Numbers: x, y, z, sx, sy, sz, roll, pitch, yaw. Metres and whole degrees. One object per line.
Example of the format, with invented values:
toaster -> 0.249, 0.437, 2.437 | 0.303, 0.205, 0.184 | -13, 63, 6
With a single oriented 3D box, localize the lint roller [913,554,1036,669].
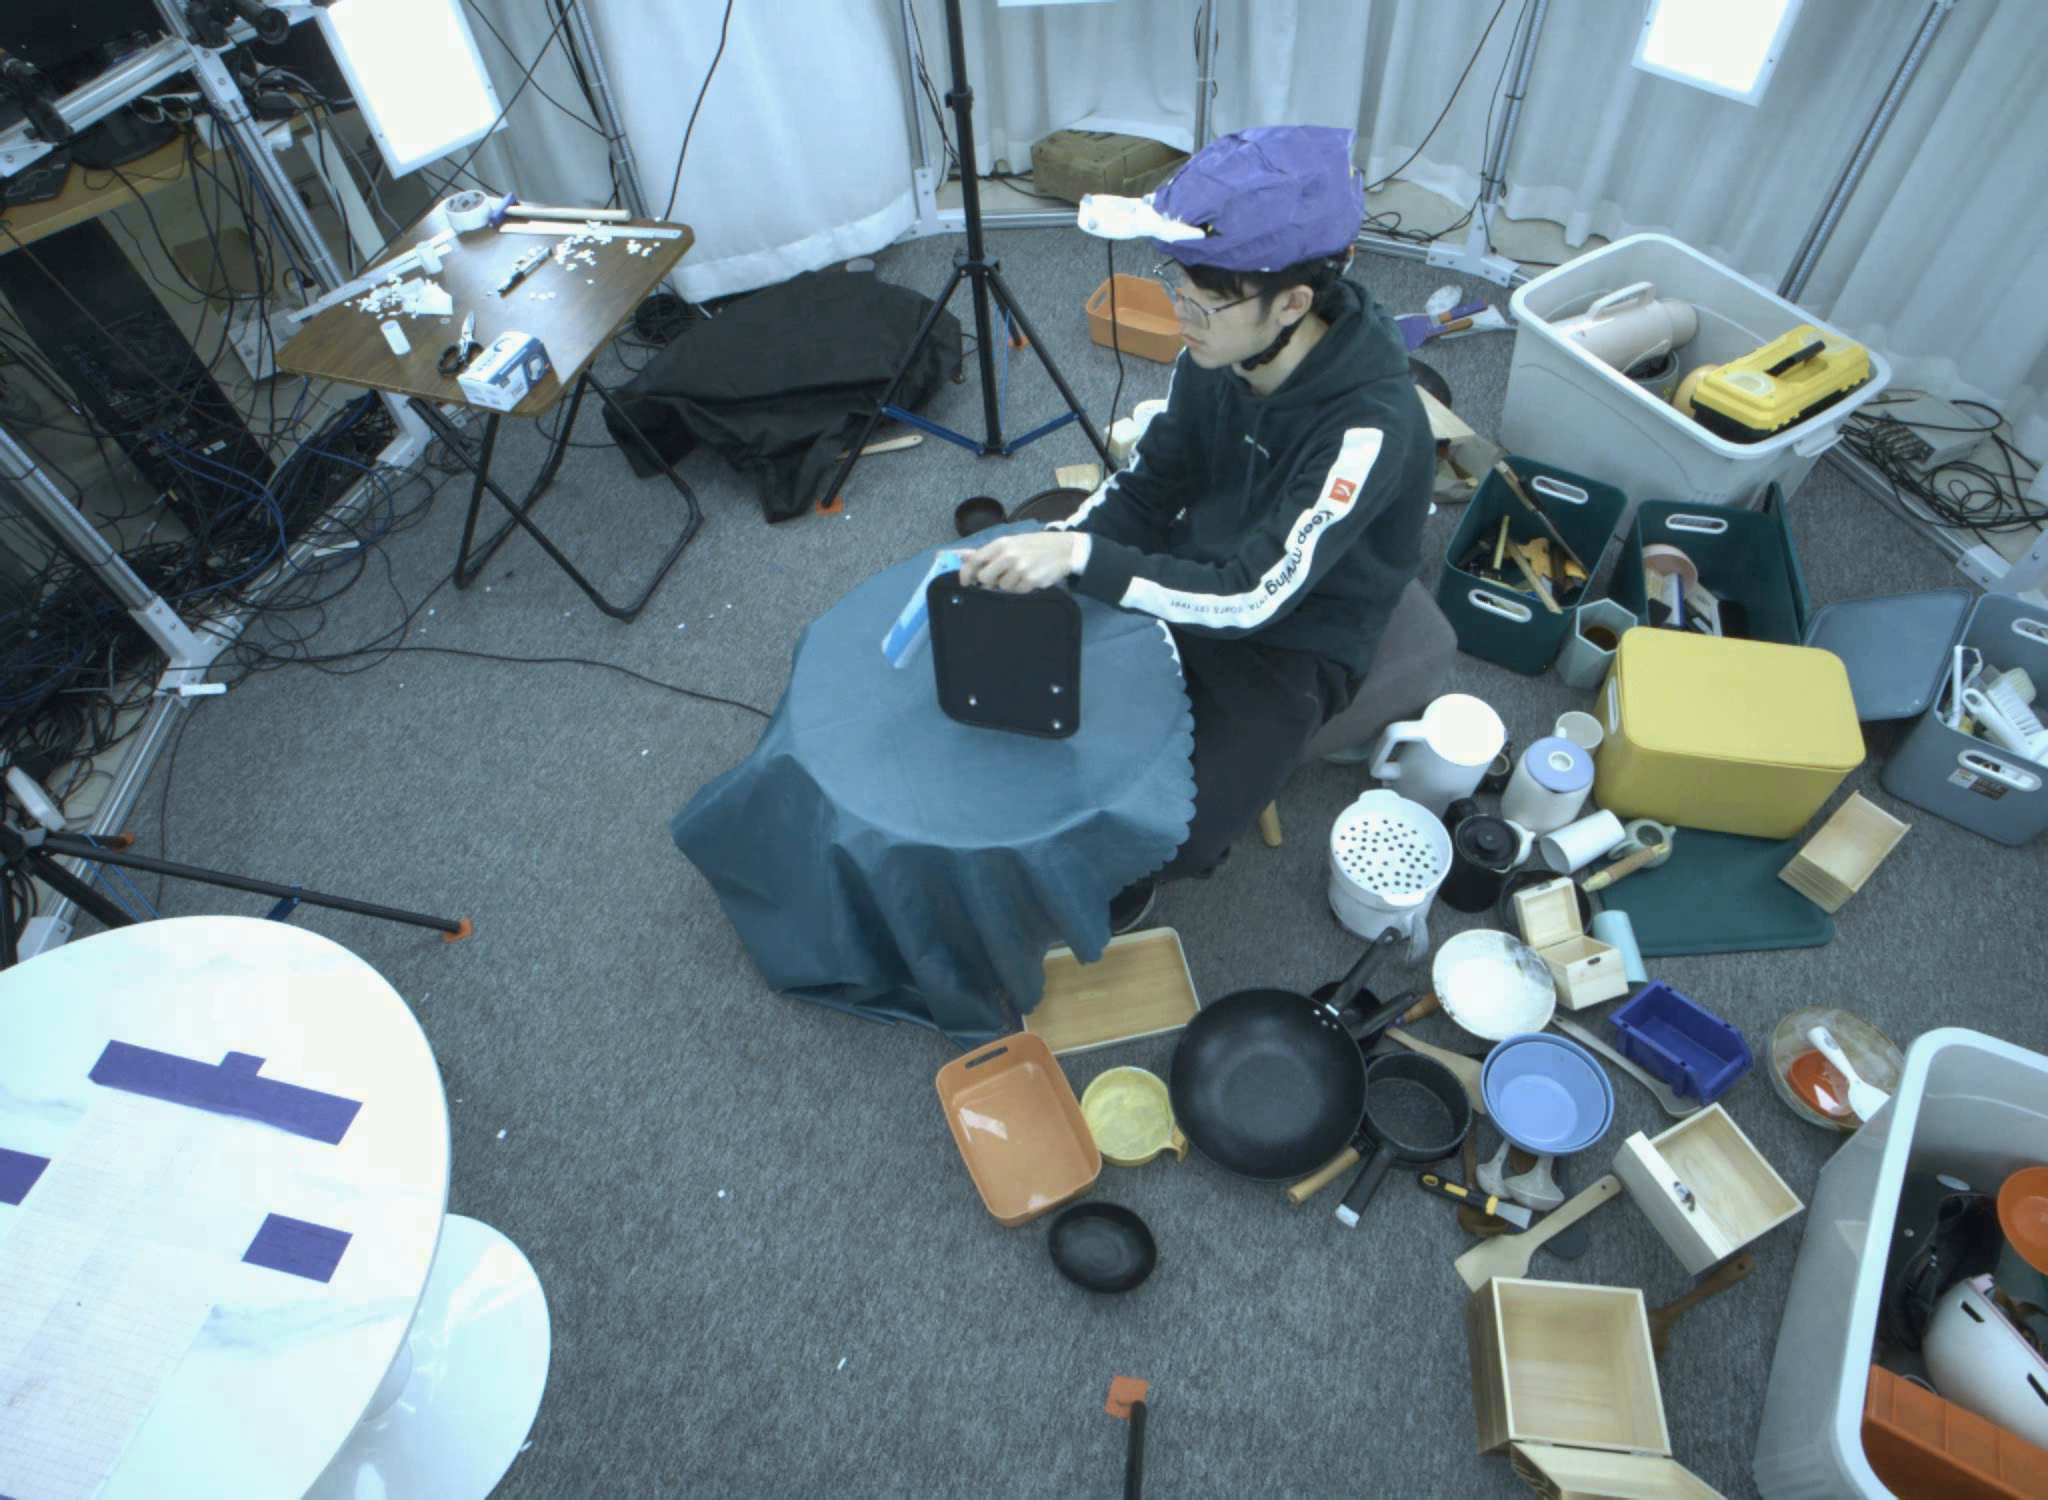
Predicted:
lint roller -> -0.060, -0.212, 1.737 | 0.067, 0.227, 0.182 | 48, 49, 6

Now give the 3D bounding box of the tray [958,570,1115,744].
tray -> 0.015, -0.121, 1.665 | 0.210, 0.328, 0.010 | 10, 53, 8
